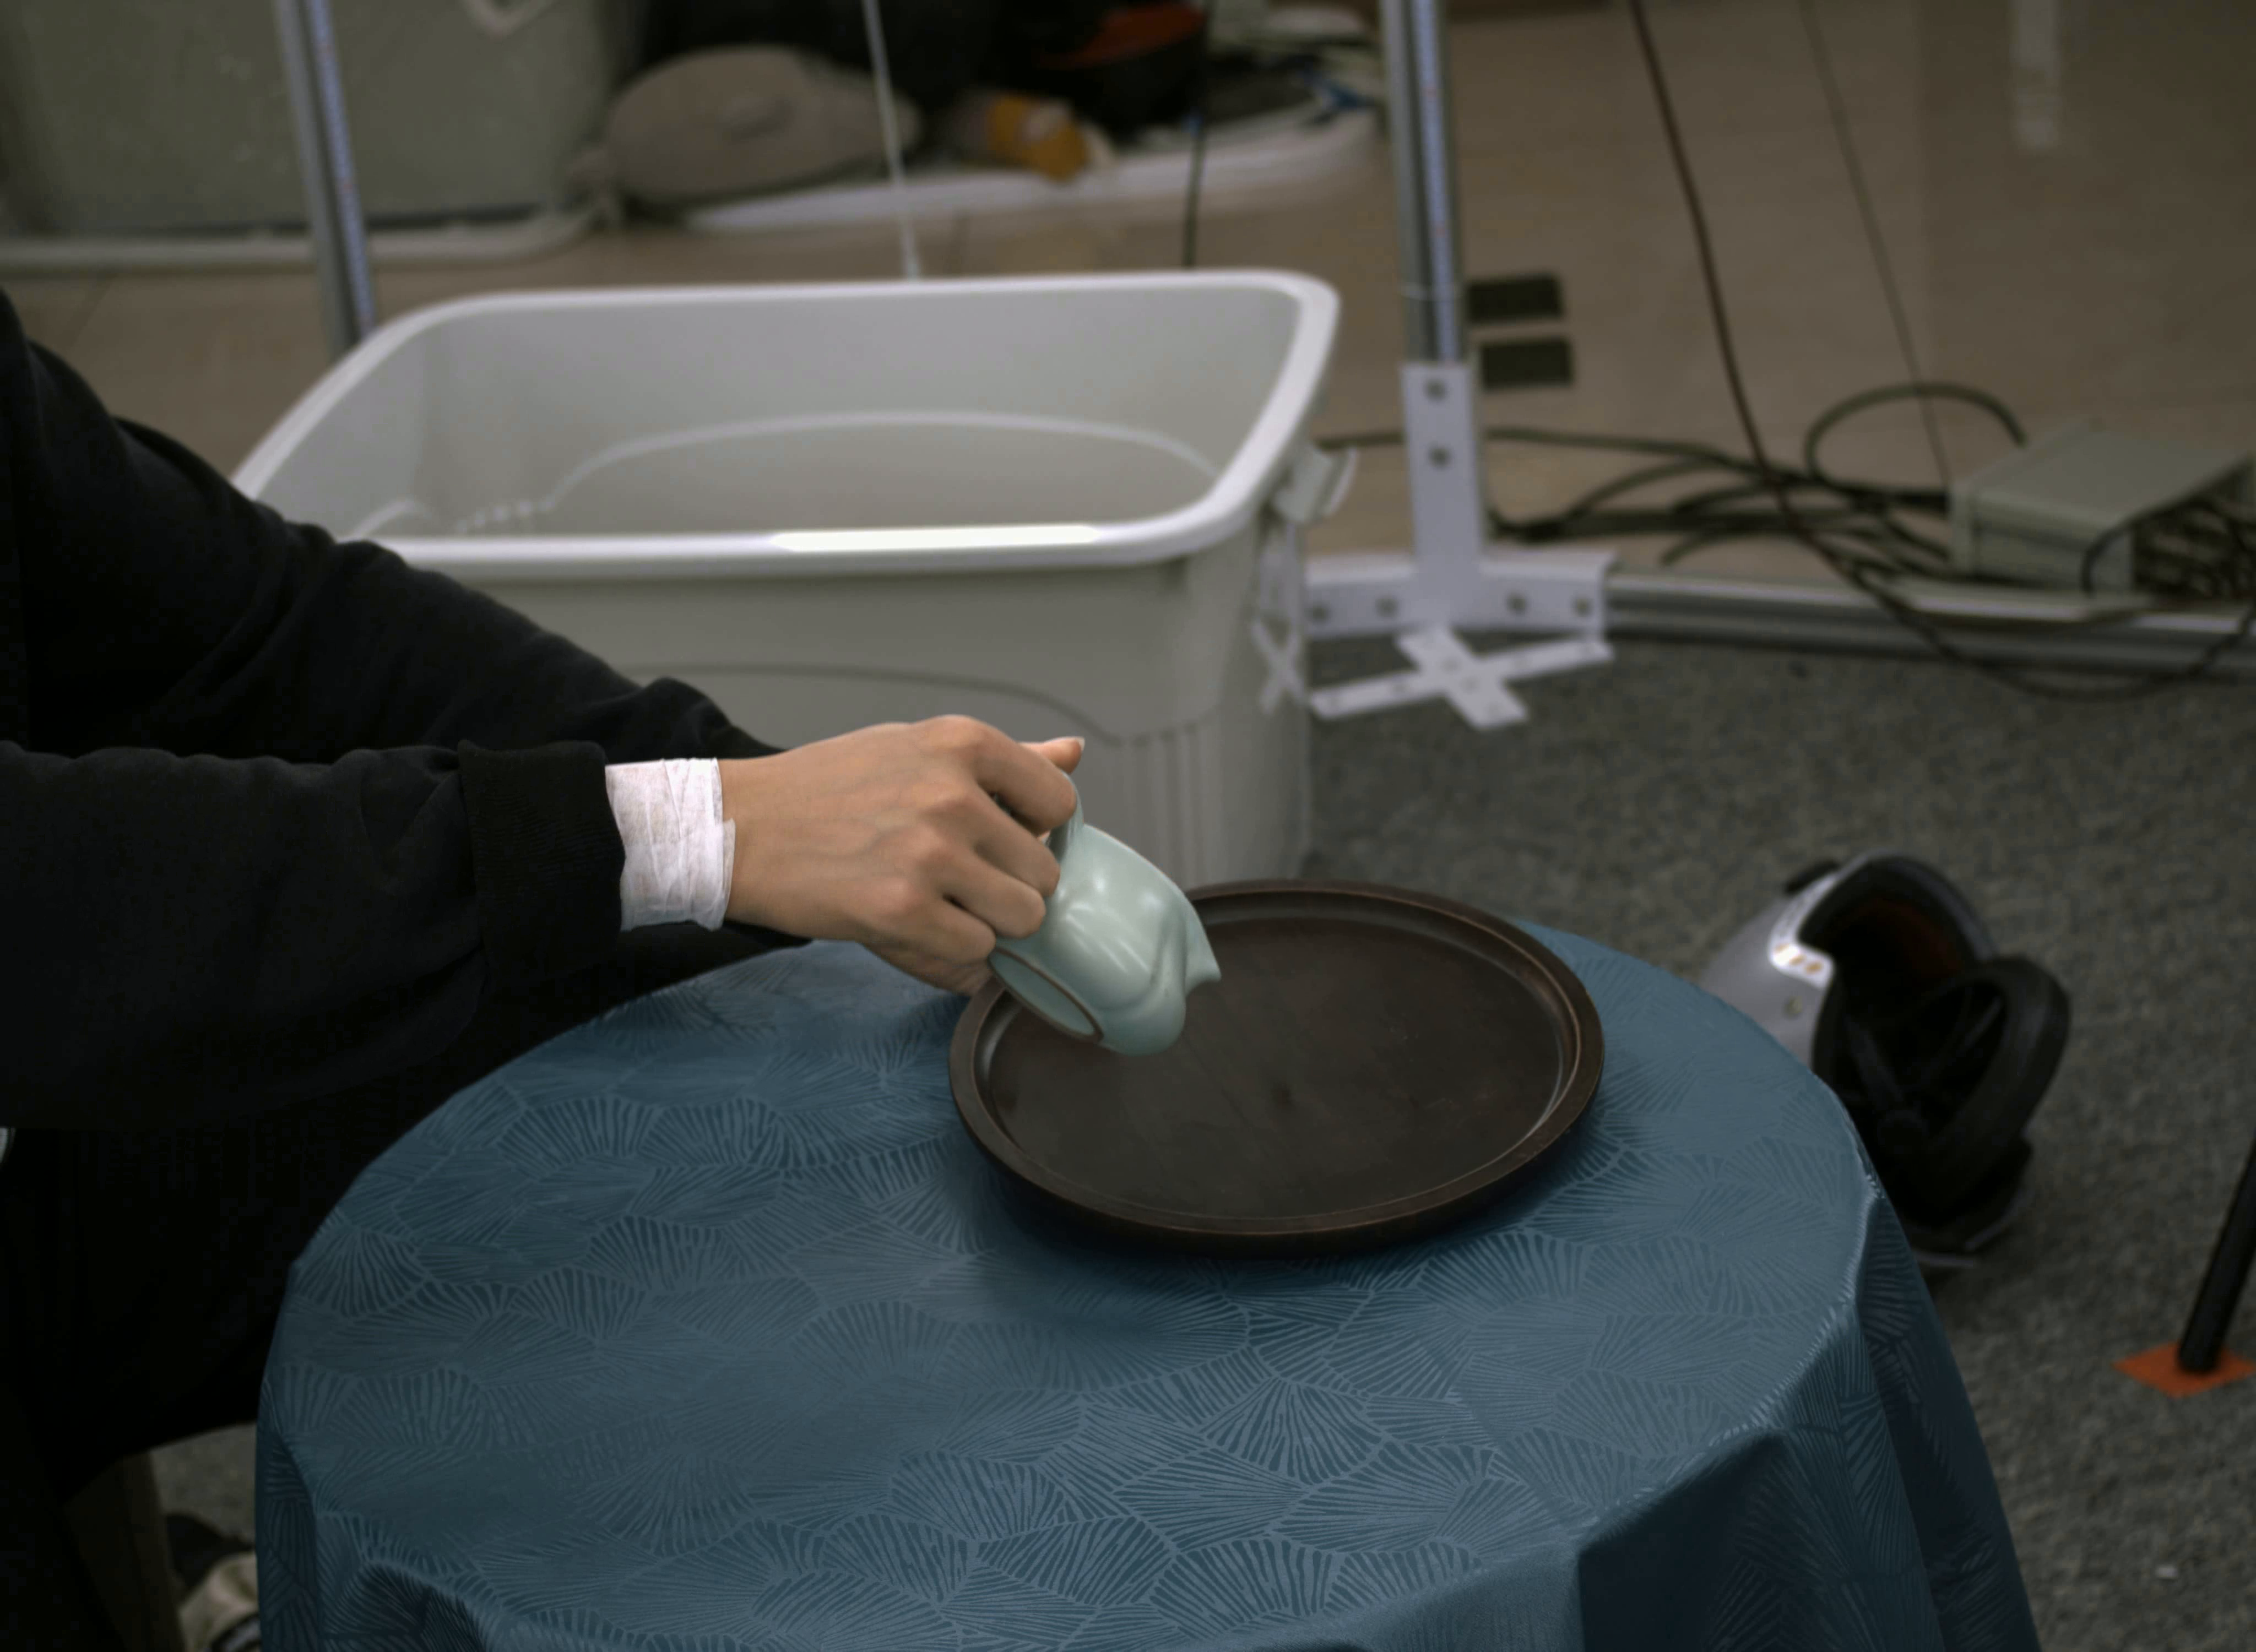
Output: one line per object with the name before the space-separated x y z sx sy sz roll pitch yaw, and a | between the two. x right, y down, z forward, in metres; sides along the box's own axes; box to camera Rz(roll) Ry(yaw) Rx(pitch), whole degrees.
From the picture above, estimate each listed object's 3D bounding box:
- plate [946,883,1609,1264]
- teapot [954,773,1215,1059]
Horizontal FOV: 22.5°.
plate | 0.058 0.093 2.177 0.254 0.029 0.250 -2 32 1
teapot | -0.016 0.037 2.035 0.095 0.139 0.061 24 70 44
